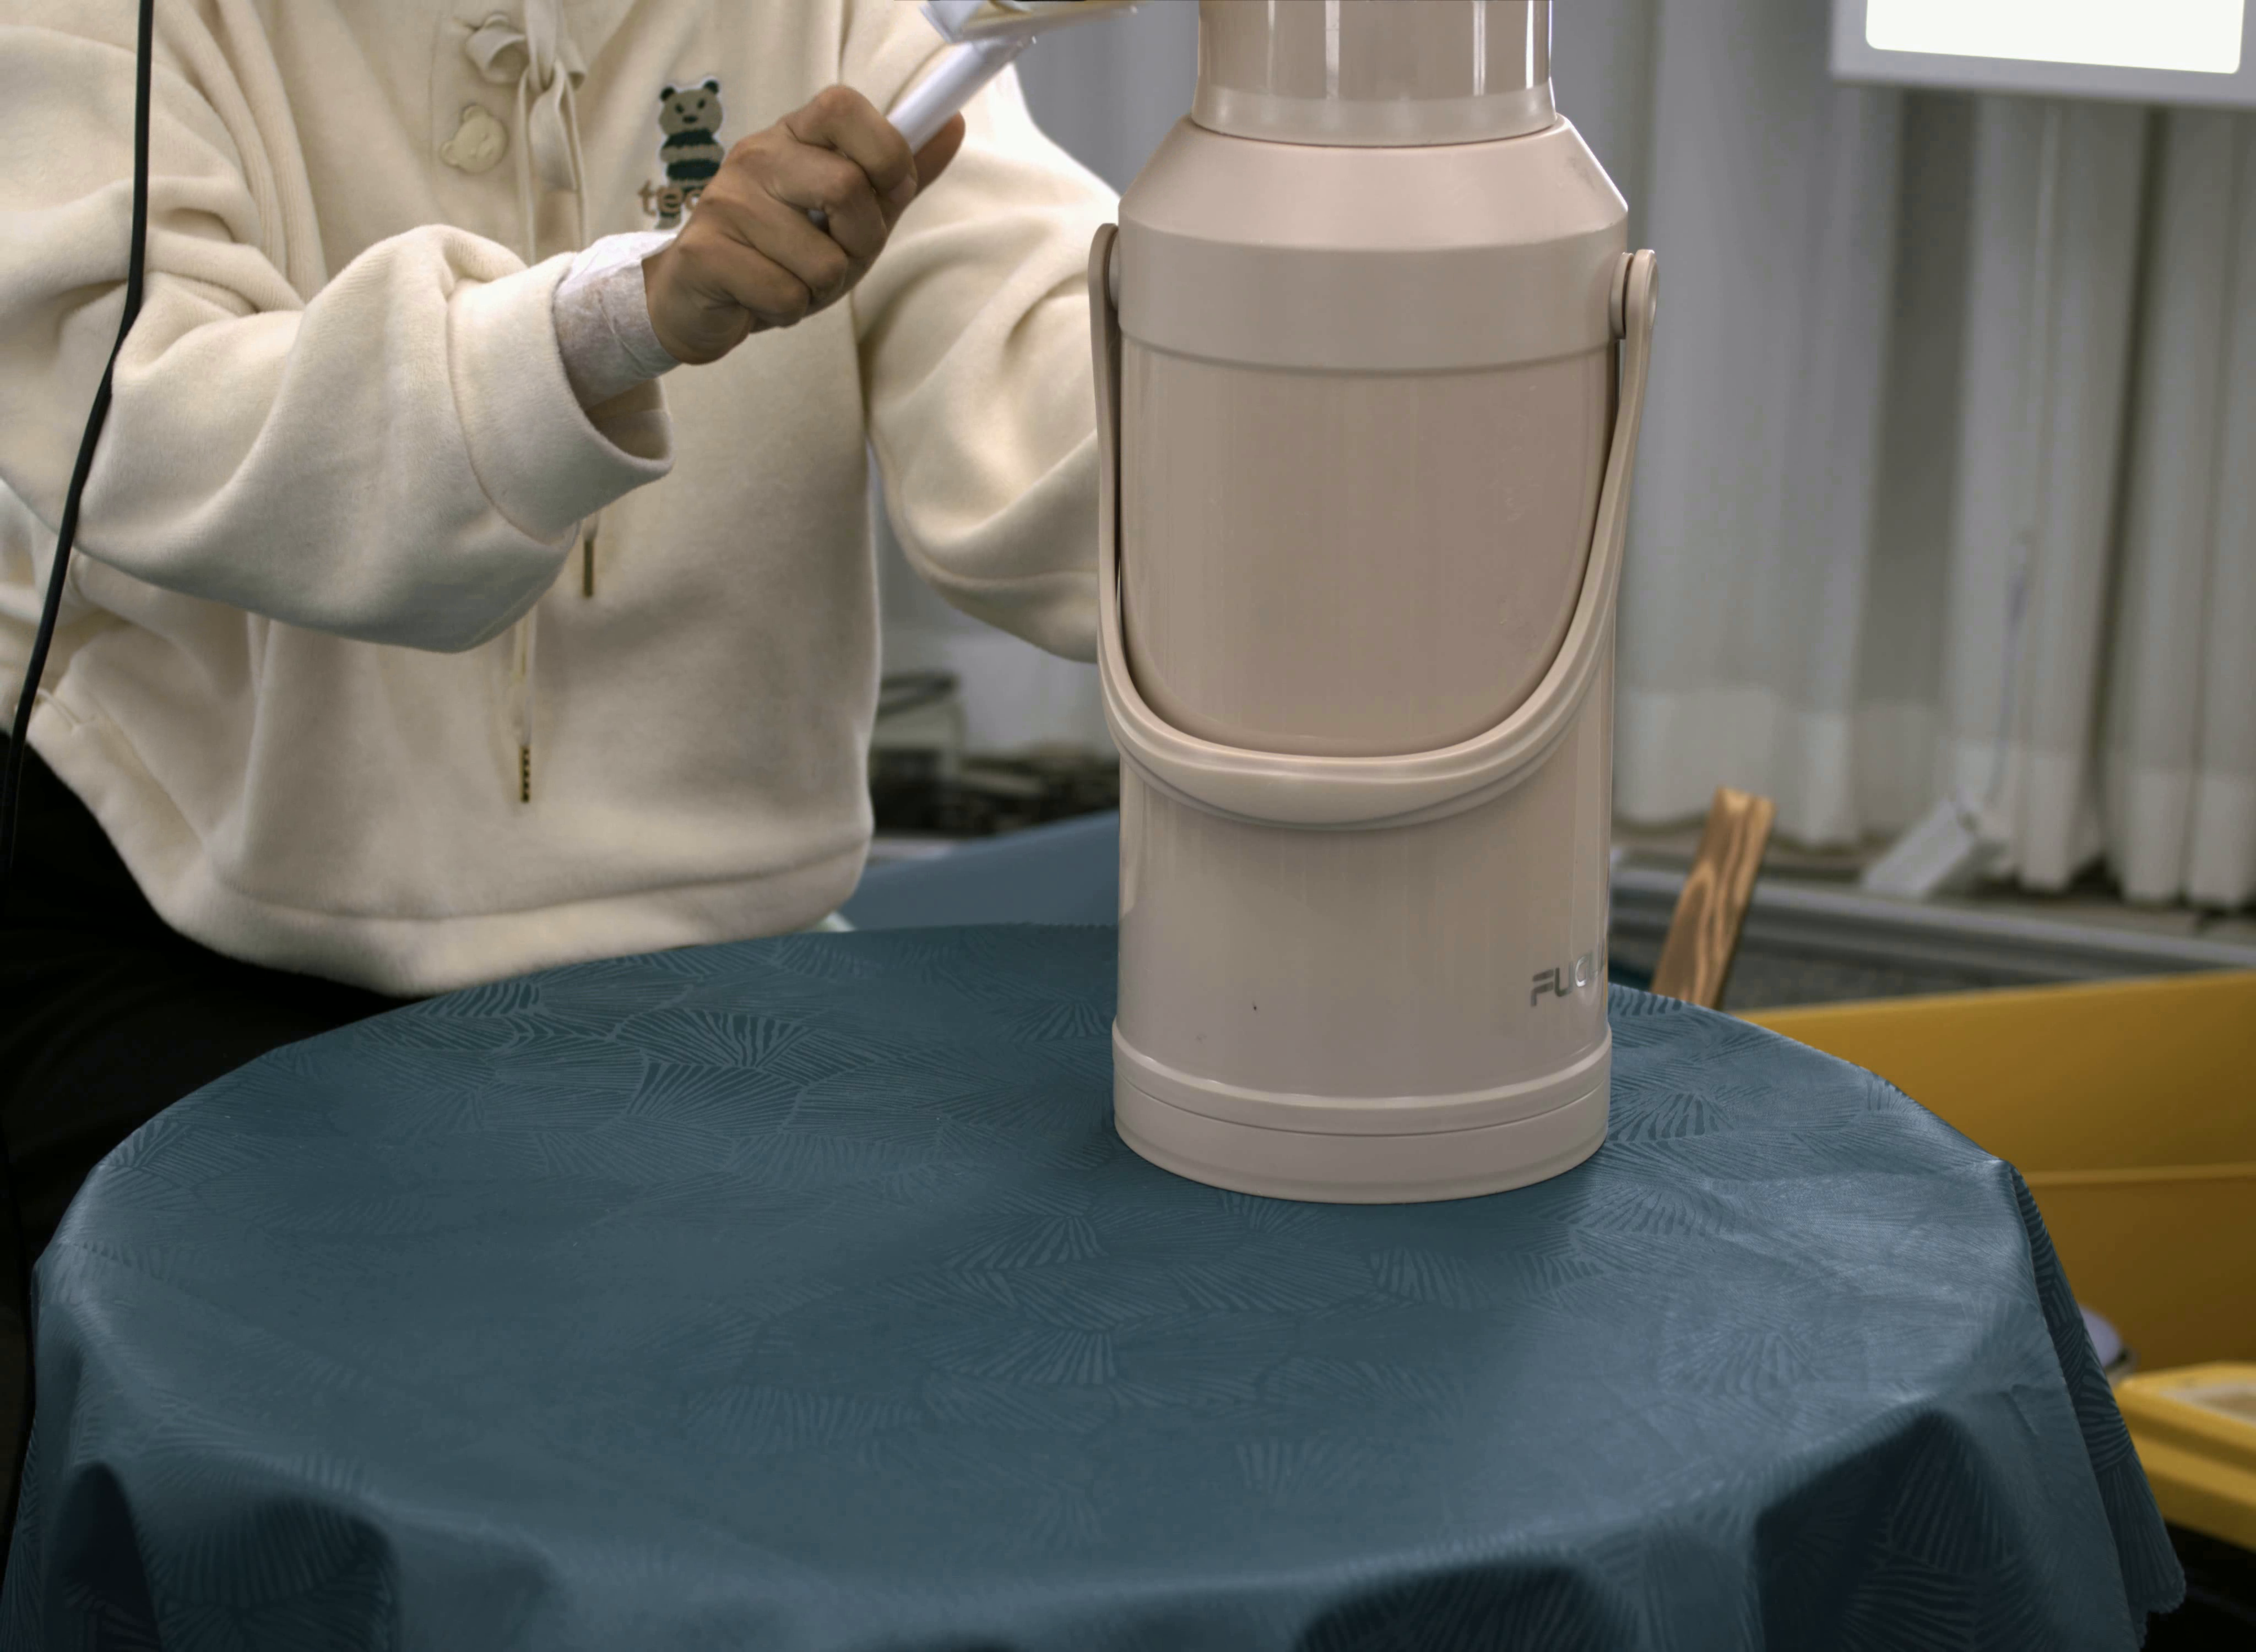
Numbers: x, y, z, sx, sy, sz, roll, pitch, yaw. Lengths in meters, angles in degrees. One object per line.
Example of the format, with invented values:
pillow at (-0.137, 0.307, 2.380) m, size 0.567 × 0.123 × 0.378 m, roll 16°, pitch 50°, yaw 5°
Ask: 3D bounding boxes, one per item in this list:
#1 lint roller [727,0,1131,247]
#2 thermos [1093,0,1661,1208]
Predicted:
lint roller at (-0.056, -0.247, 1.627) m, size 0.191 × 0.051 × 0.174 m, roll -28°, pitch -1°, yaw 23°
thermos at (0.080, -0.099, 1.641) m, size 0.174 × 0.409 × 0.207 m, roll 4°, pitch 16°, yaw 15°
